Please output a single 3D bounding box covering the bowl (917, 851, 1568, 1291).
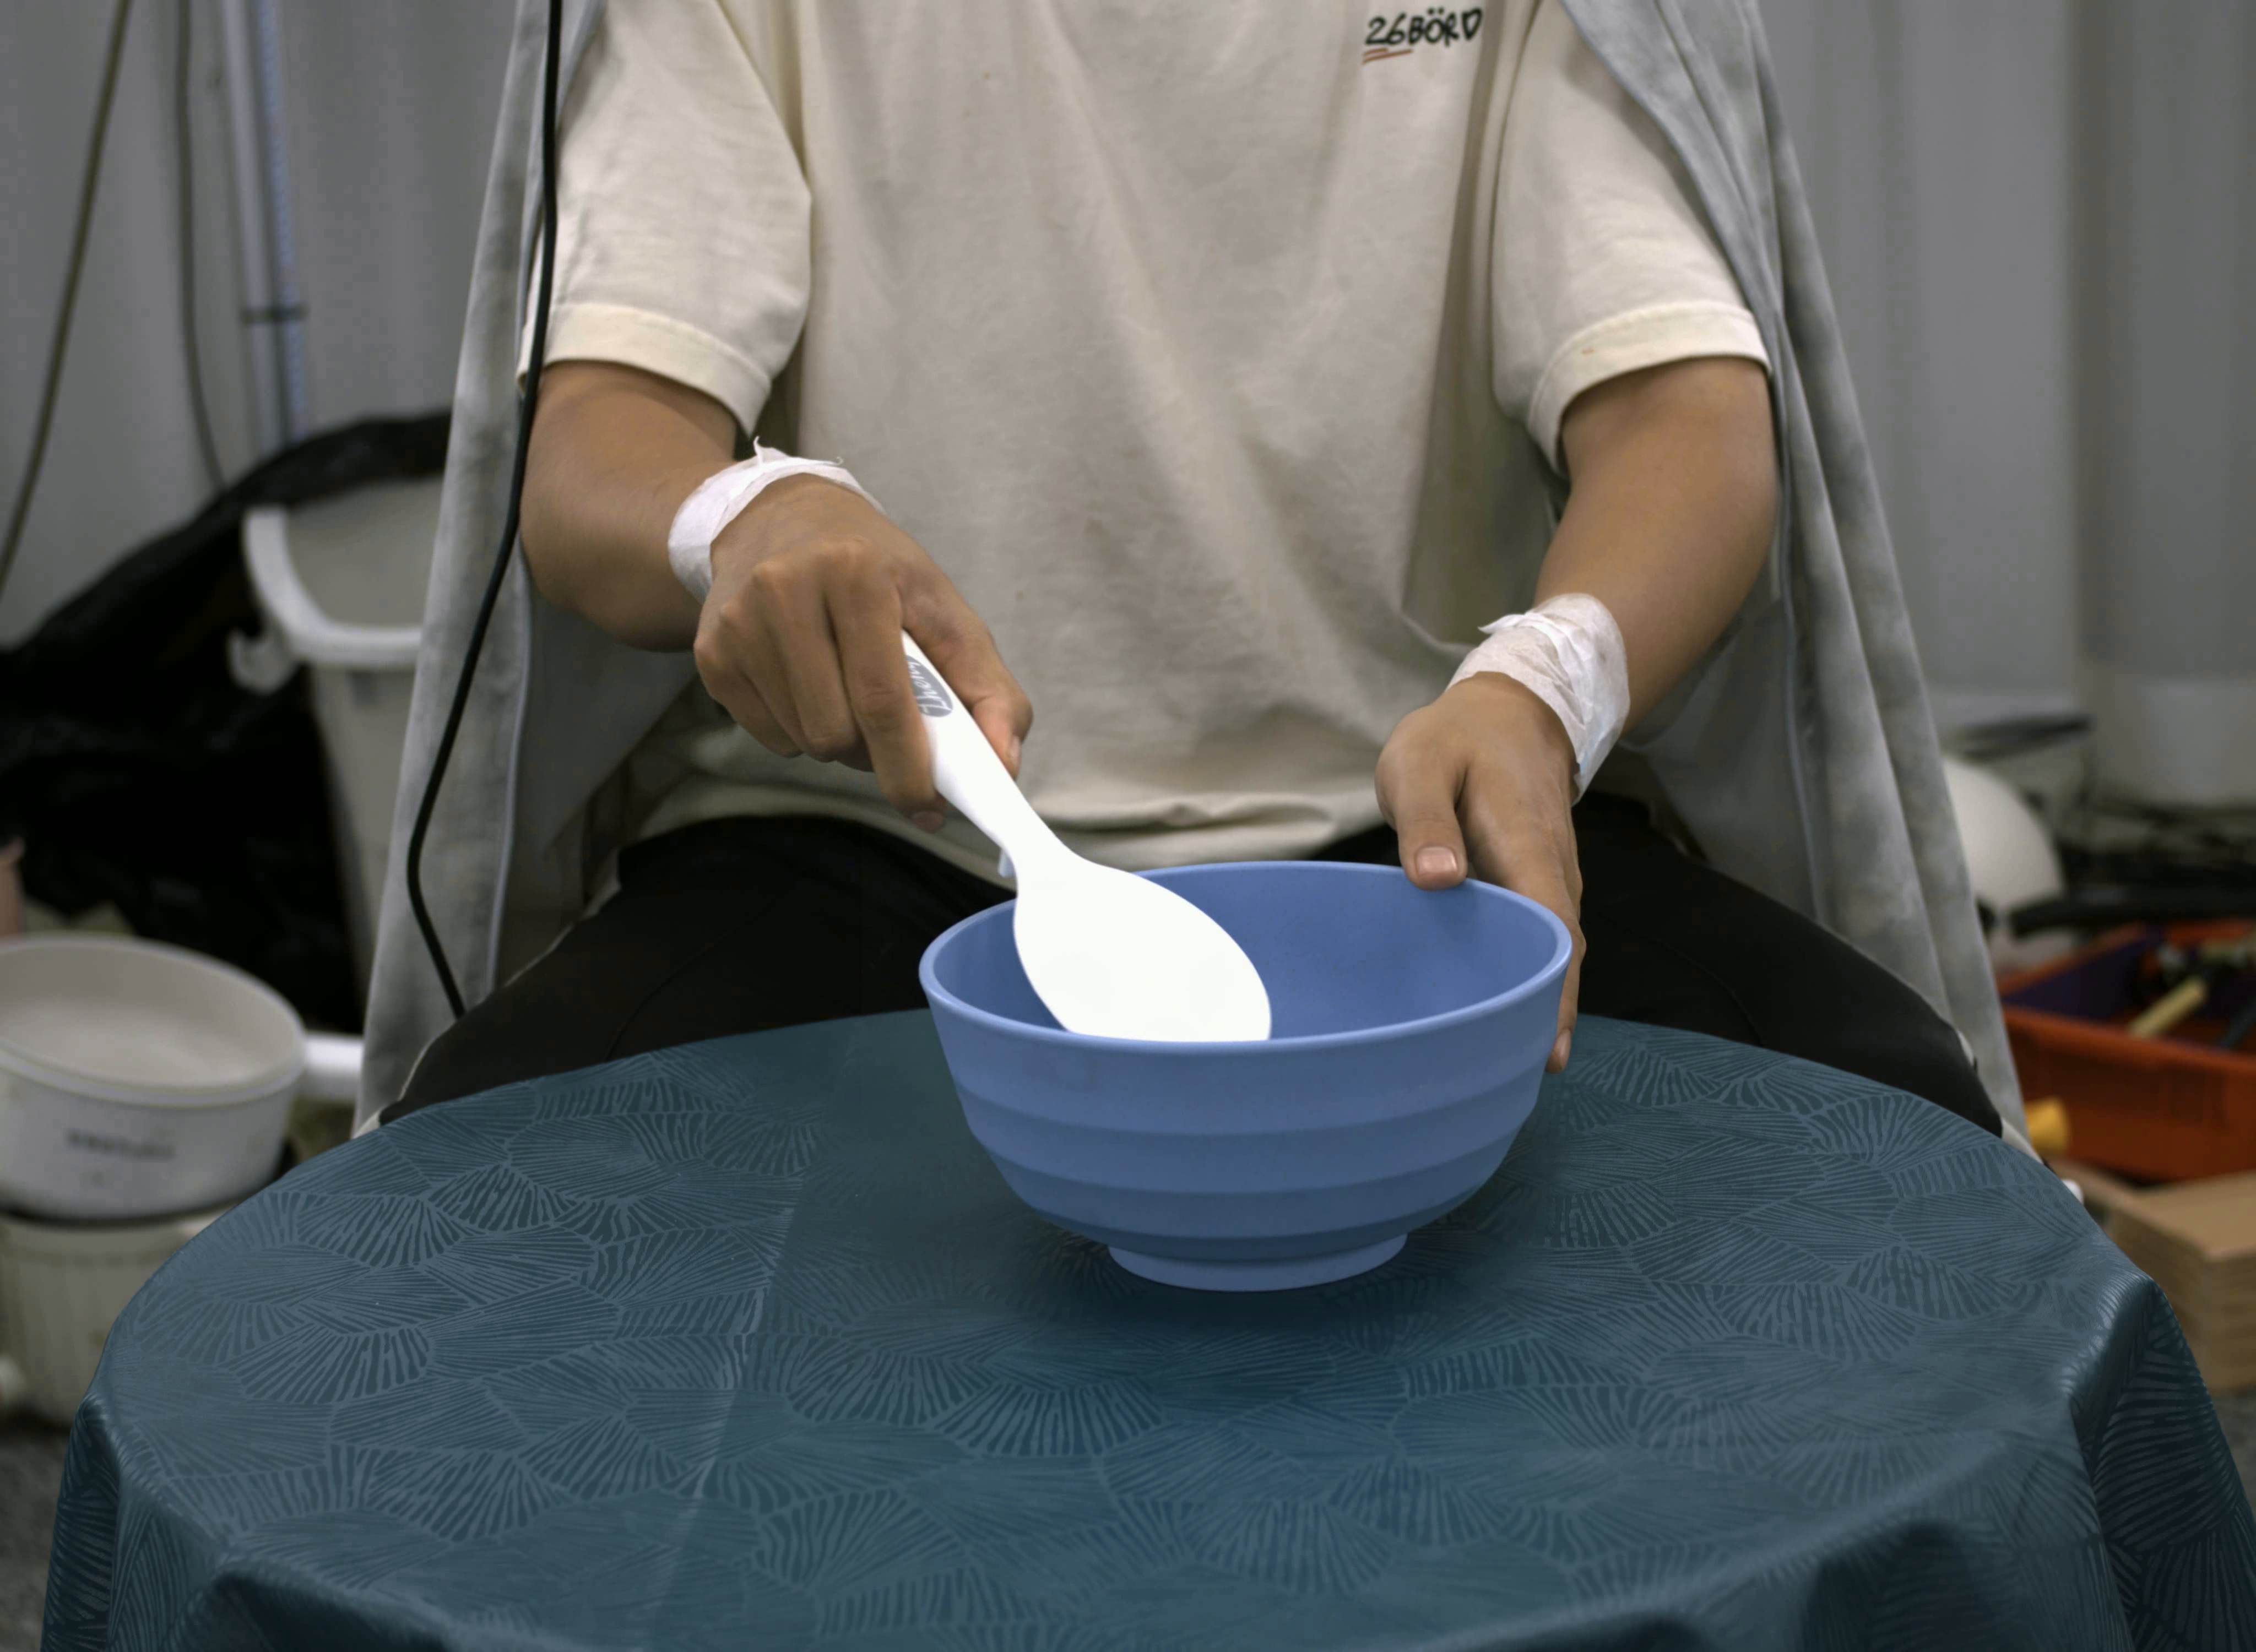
[{"bbox_3d":[0.037,0.080,1.654,0.196,0.095,0.198,-4,16,1],"label":"bowl"}]

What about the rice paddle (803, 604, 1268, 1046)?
[{"bbox_3d":[-0.030,0.006,1.687,0.069,0.029,0.207,-24,55,-29],"label":"rice paddle"}]
